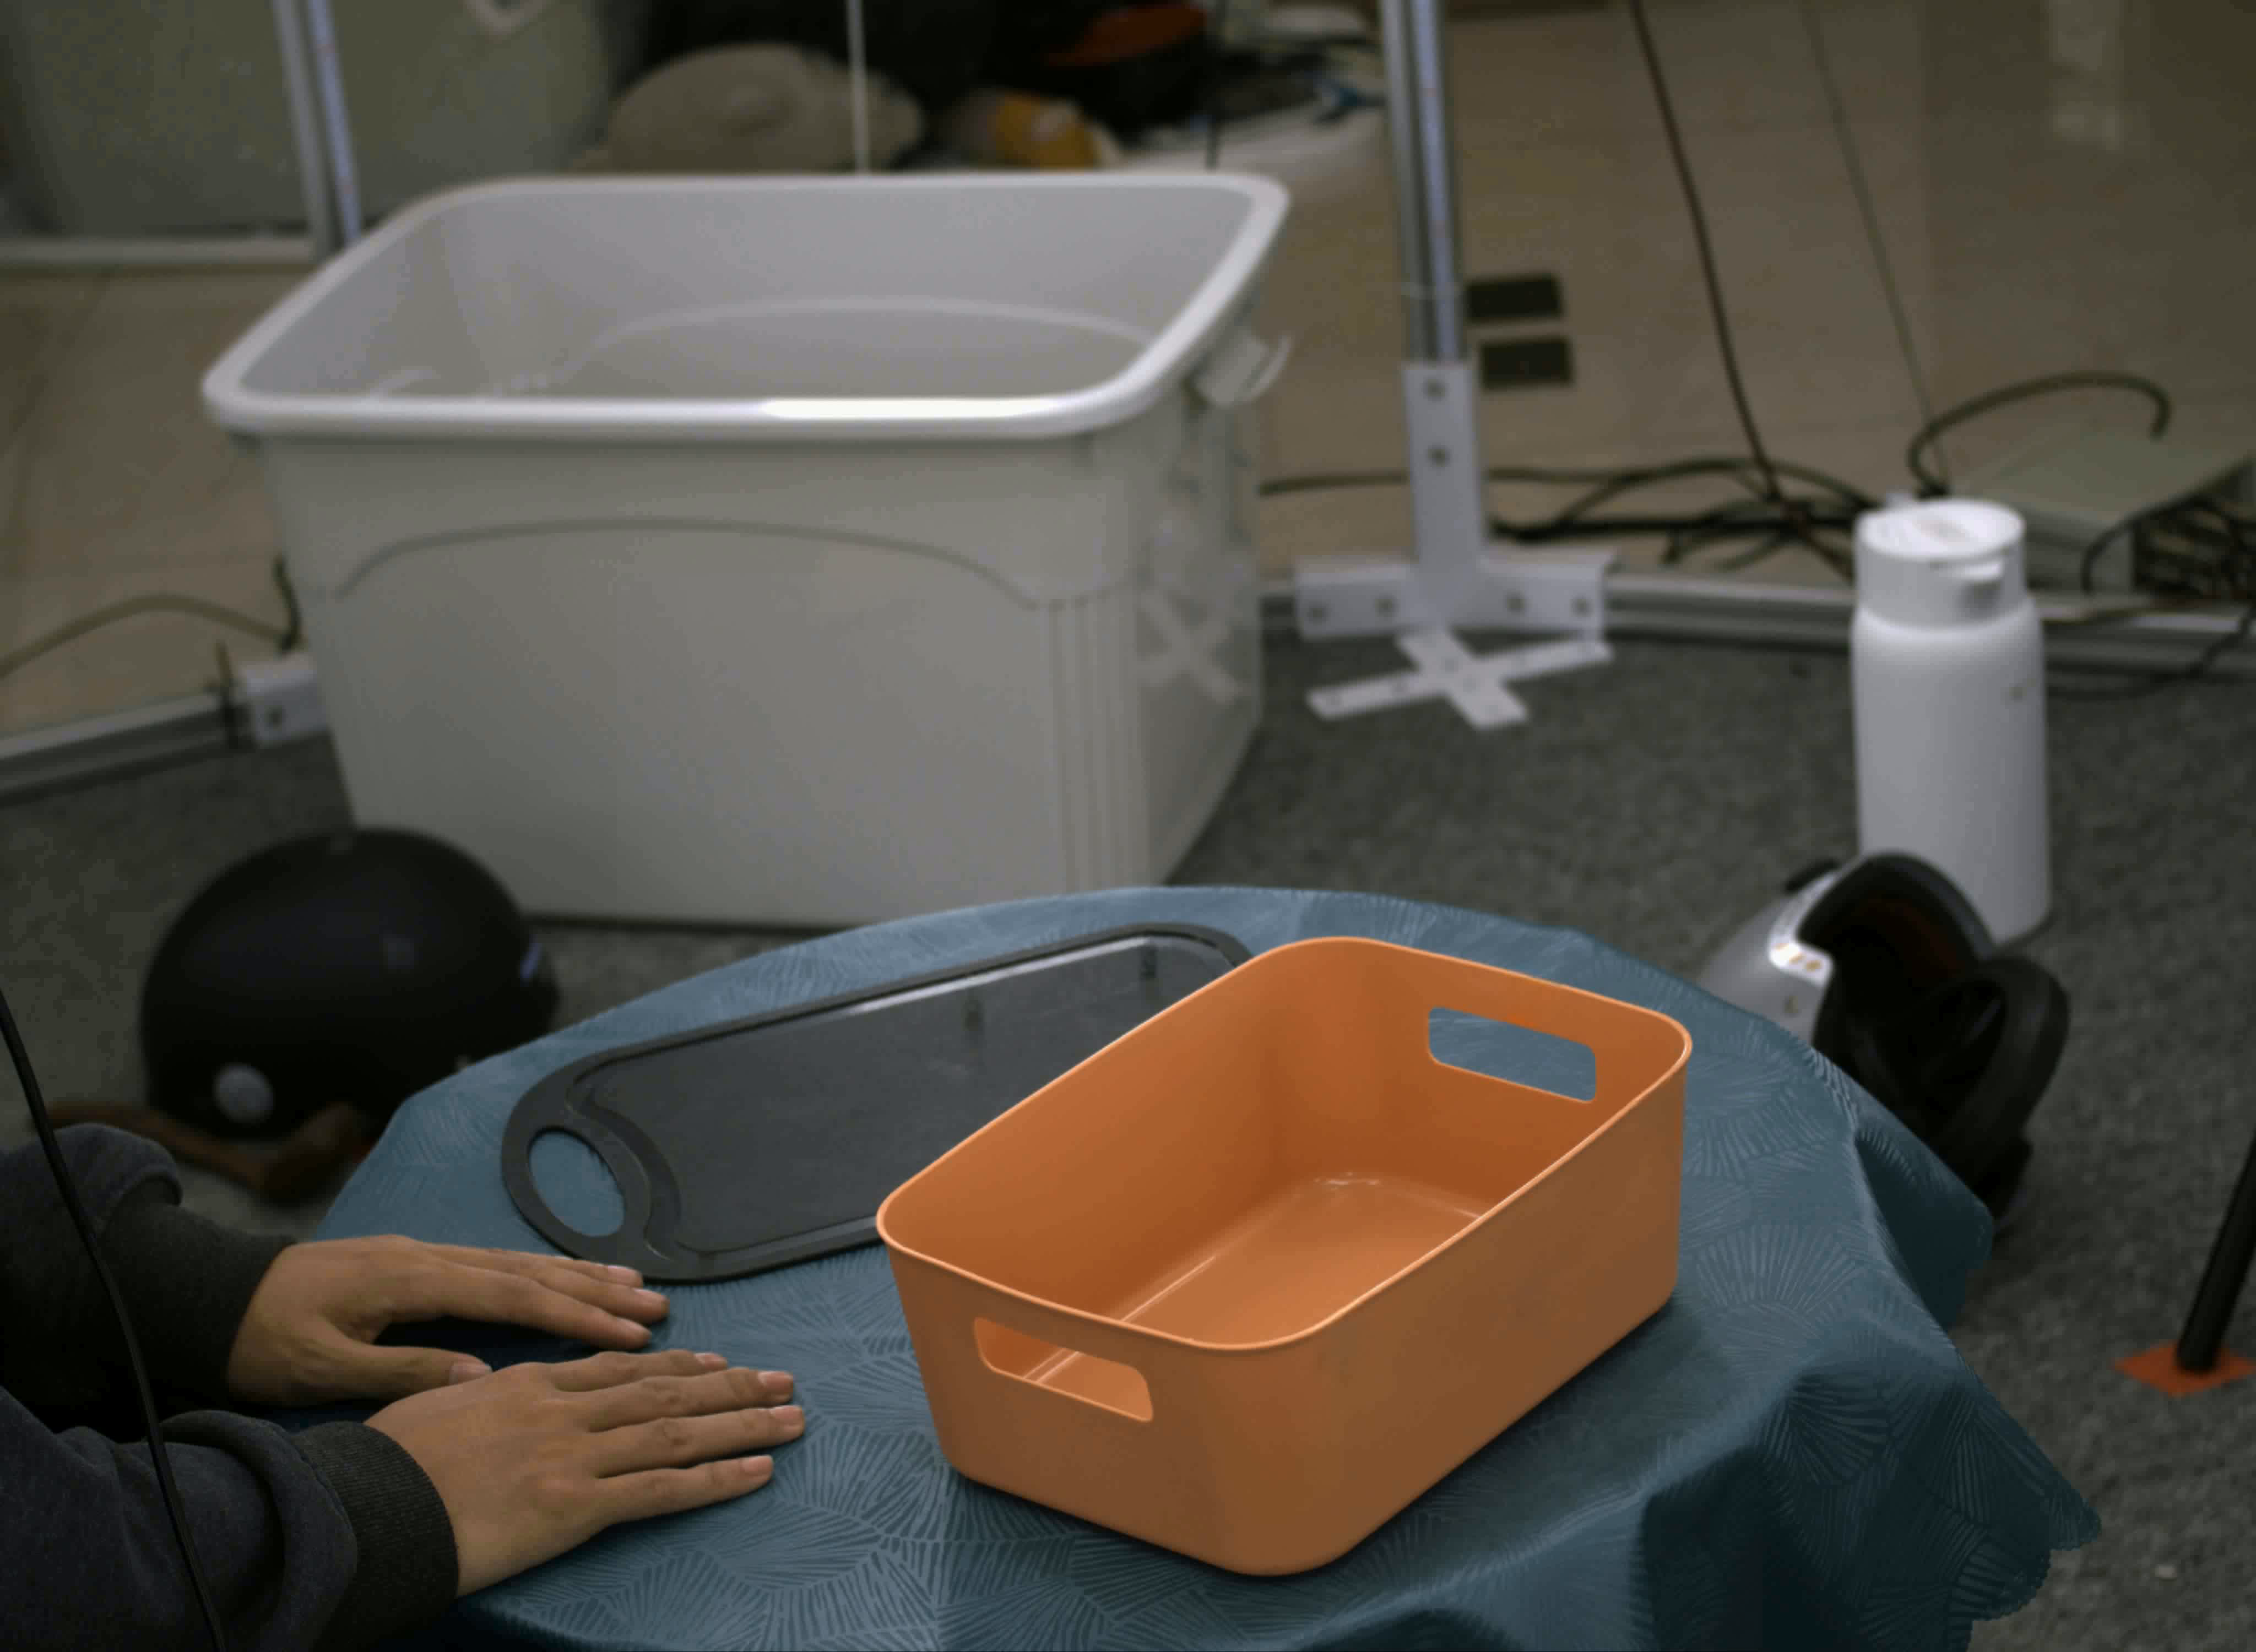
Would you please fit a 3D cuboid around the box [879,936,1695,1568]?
[{"bbox_3d":[0.060,0.148,1.988,0.198,0.104,0.270,15,32,37],"label":"box"}]

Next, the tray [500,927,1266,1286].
[{"bbox_3d":[-0.085,0.108,2.228,0.324,0.010,0.208,-13,25,-14],"label":"tray"}]
